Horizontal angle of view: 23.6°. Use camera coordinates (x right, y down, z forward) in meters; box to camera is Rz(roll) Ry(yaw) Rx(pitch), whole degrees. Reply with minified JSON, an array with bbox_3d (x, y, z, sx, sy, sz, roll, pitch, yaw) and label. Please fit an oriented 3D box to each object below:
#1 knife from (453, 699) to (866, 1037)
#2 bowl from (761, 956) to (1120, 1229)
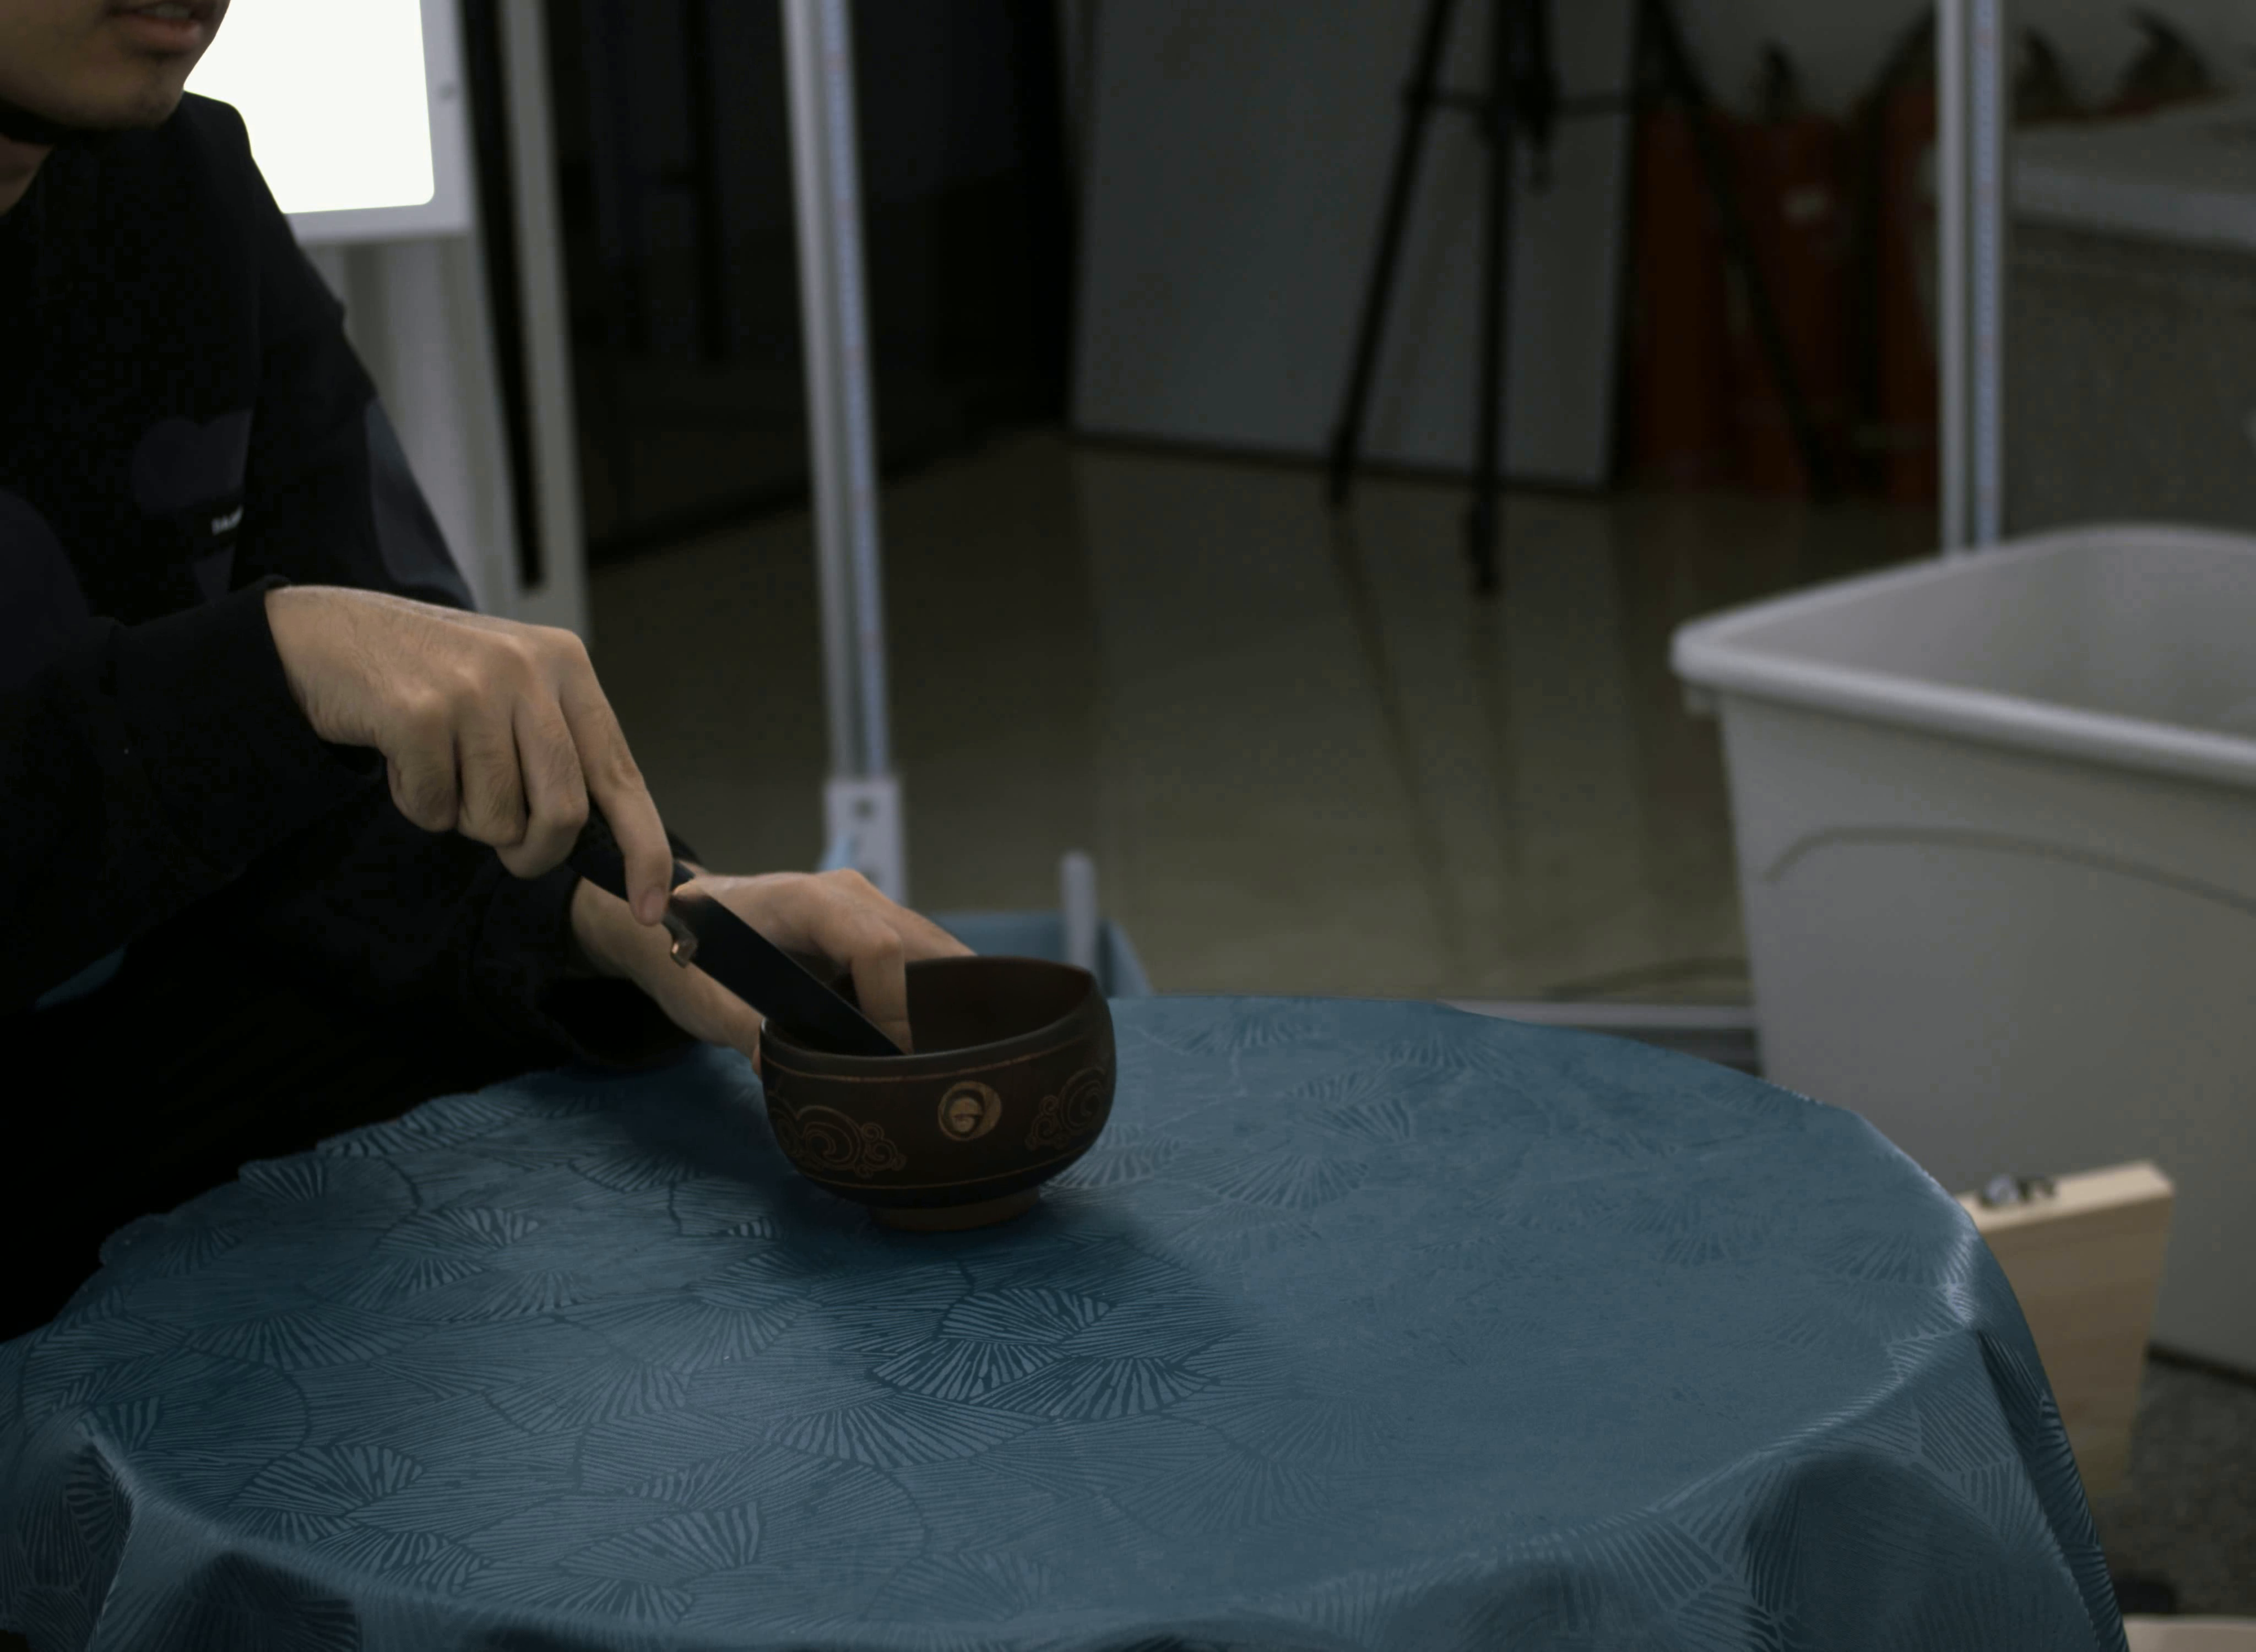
[{"bbox_3d":[-0.131,0.038,1.749,0.225,0.026,0.017,41,0,-2],"label":"knife"},{"bbox_3d":[-0.059,0.090,1.755,0.116,0.070,0.118,-6,11,0],"label":"bowl"}]
